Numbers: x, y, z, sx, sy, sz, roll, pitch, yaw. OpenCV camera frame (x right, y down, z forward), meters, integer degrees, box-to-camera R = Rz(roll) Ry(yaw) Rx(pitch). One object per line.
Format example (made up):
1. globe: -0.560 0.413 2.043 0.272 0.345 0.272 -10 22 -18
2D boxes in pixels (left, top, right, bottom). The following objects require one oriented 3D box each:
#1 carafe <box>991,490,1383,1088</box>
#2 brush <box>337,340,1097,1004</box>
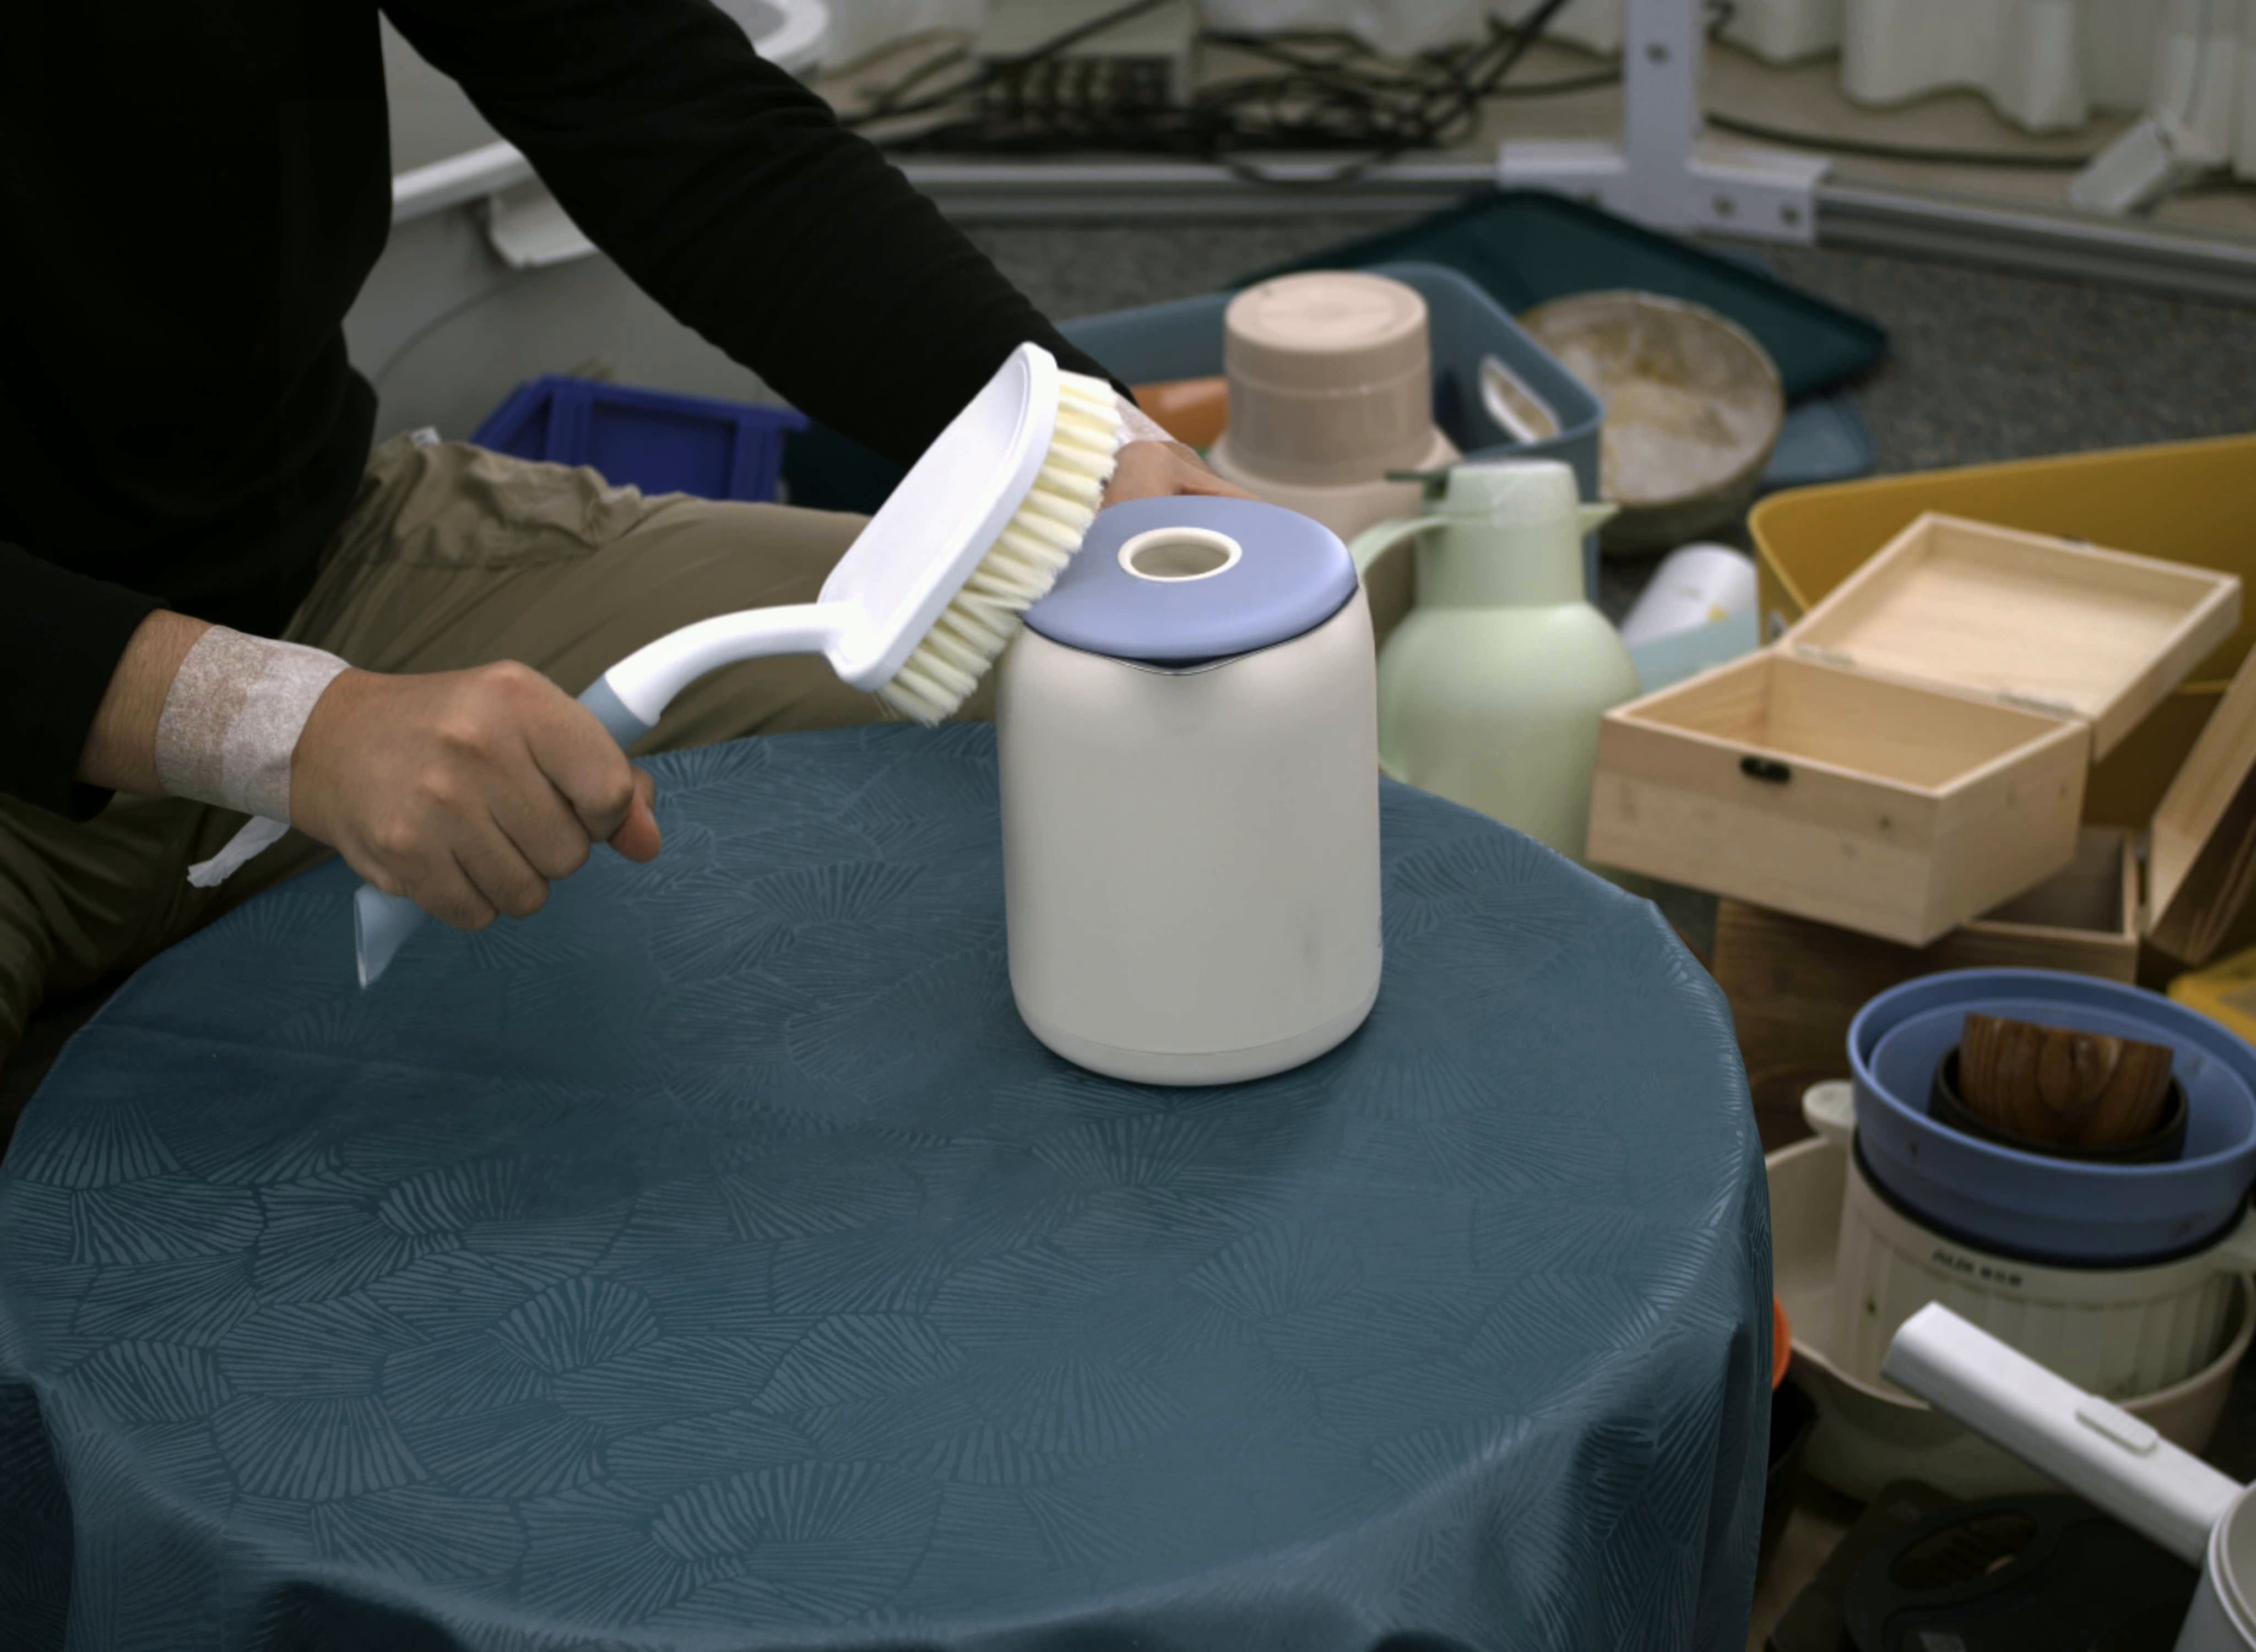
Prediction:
1. carafe: 0.021 -0.025 1.956 0.131 0.180 0.194 -2 26 0
2. brush: -0.130 -0.035 1.904 0.324 0.085 0.083 -42 -10 5
